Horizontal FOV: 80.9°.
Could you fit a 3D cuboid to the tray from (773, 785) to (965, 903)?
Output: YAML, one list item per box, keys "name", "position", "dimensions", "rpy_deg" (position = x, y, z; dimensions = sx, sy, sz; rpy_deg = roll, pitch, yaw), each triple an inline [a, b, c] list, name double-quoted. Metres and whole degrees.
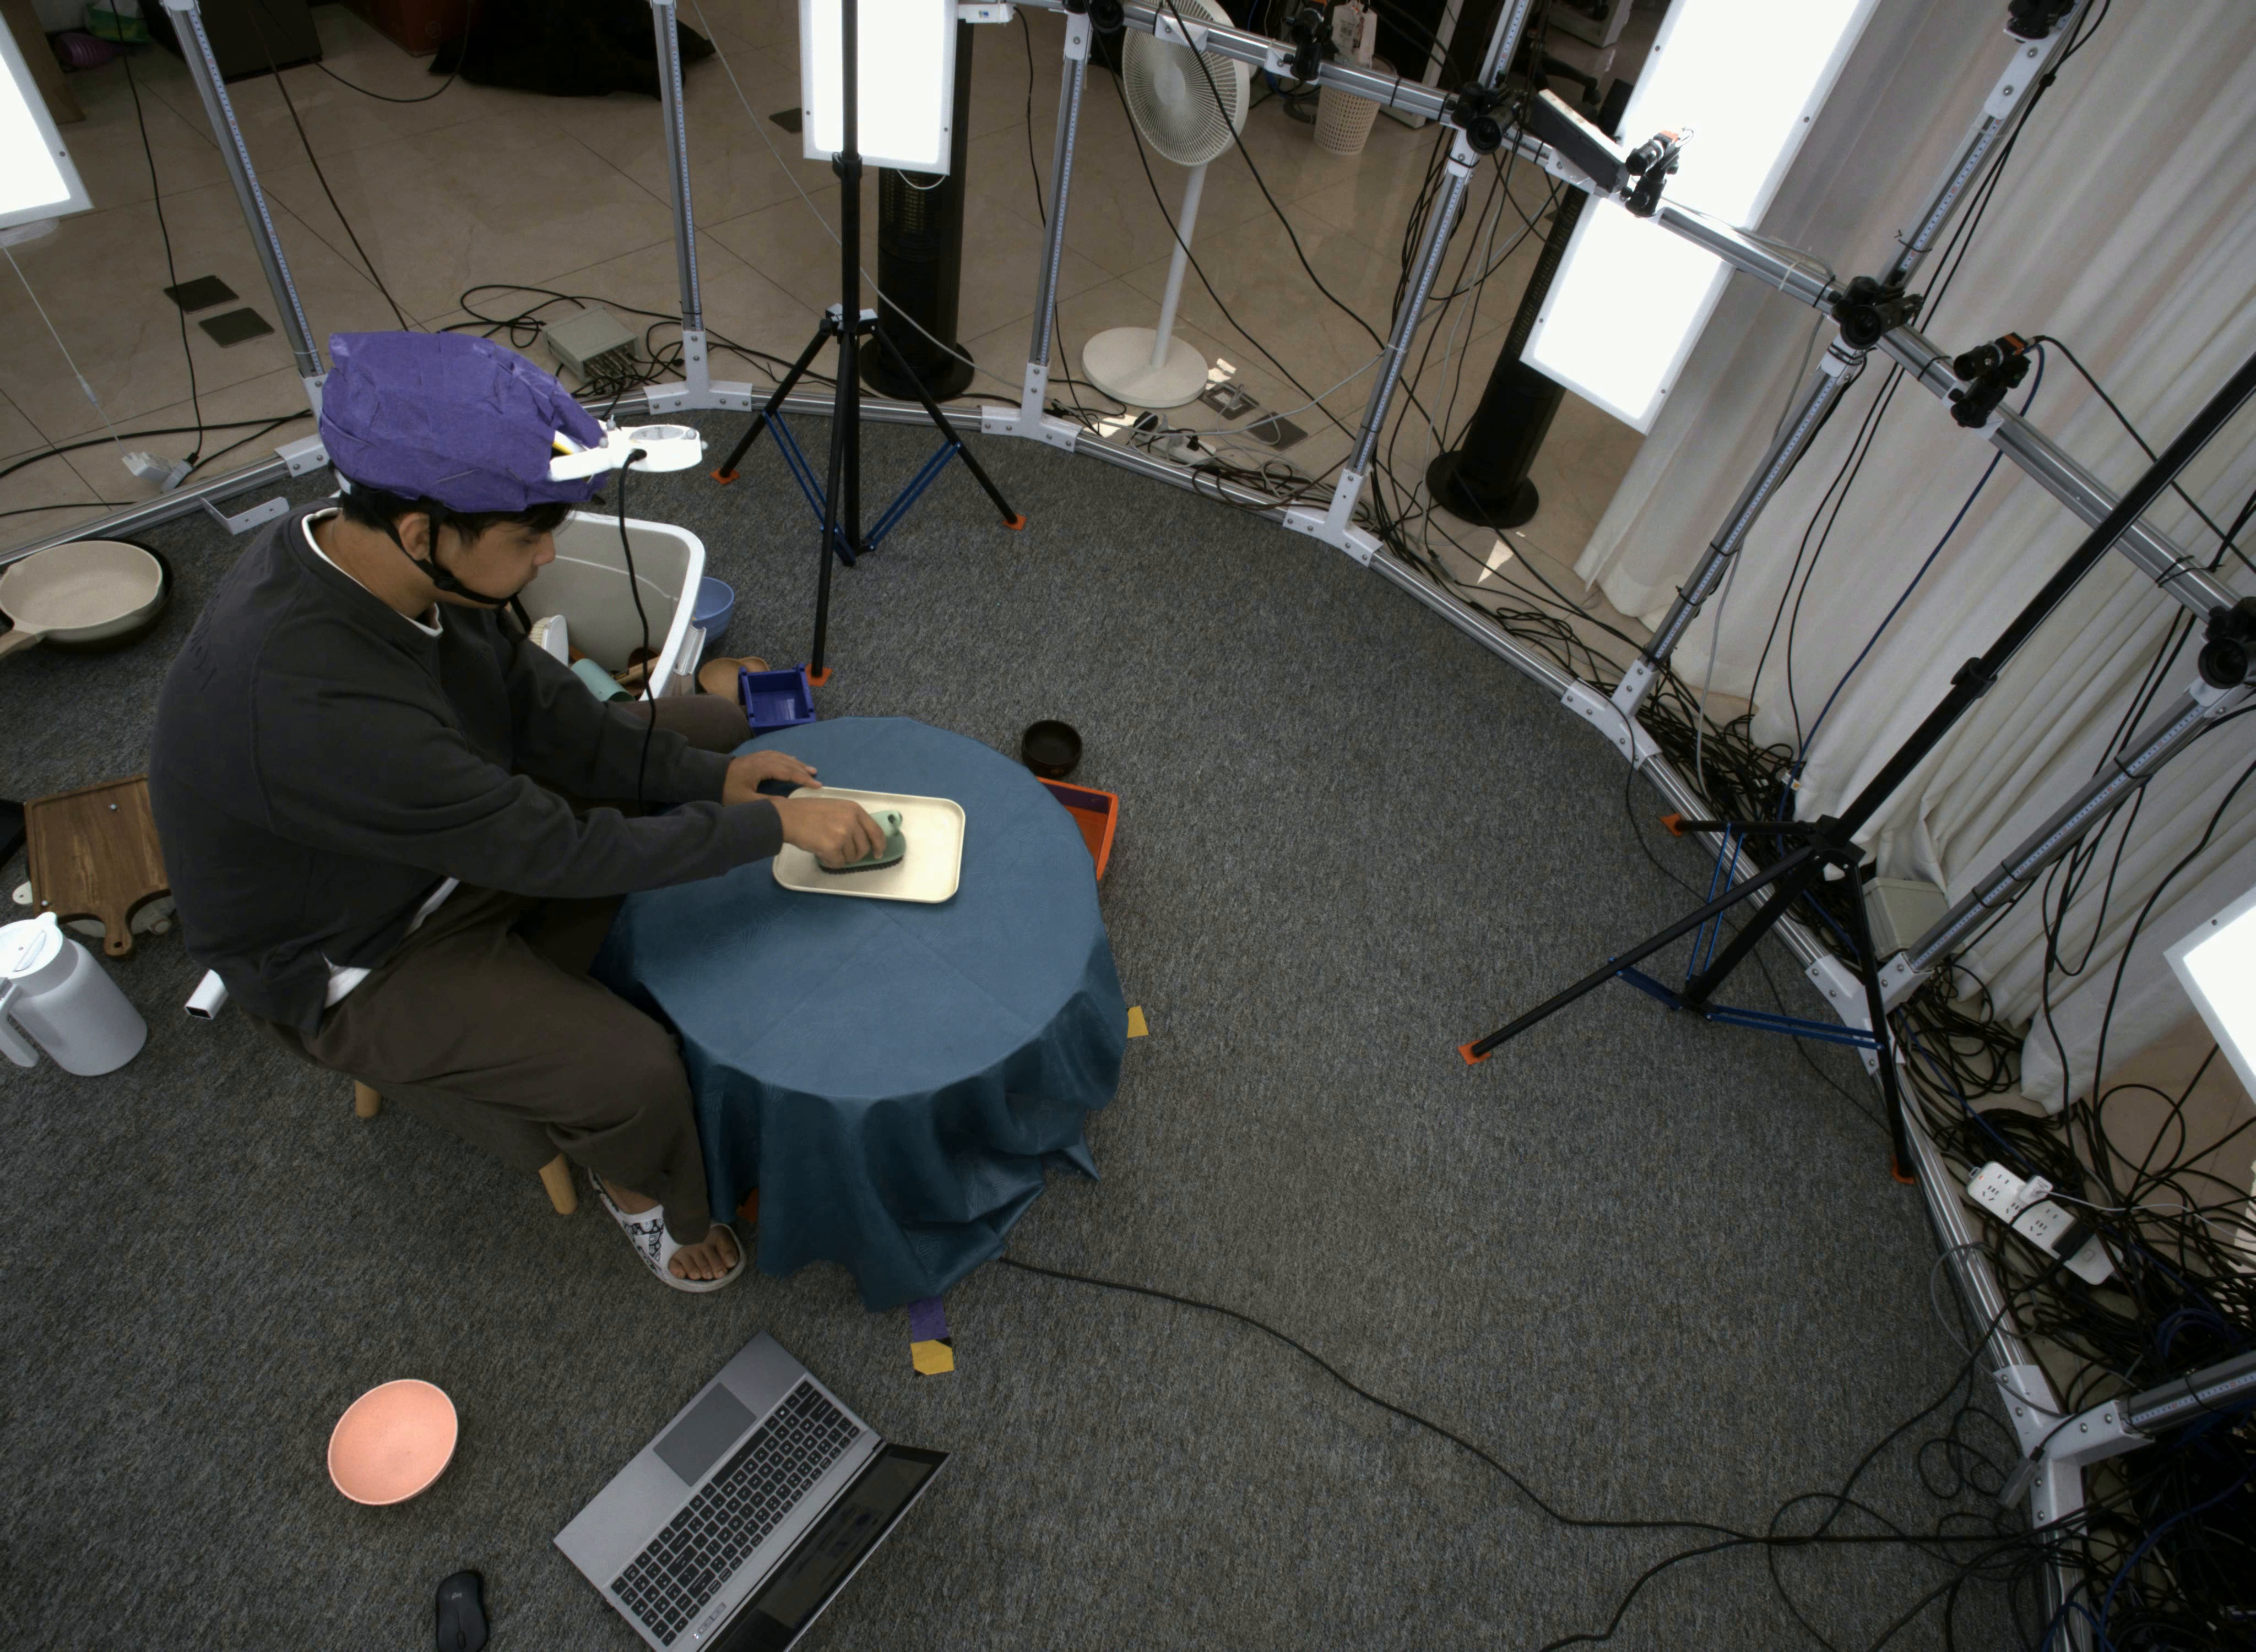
- name: "tray"
  position: [-0.338, 0.024, 1.712]
  dimensions: [0.239, 0.018, 0.168]
  rpy_deg: [6, 52, -9]

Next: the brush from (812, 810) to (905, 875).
- name: "brush"
  position: [-0.348, 0.022, 1.685]
  dimensions: [0.122, 0.078, 0.058]
  rpy_deg: [-17, 56, -8]
